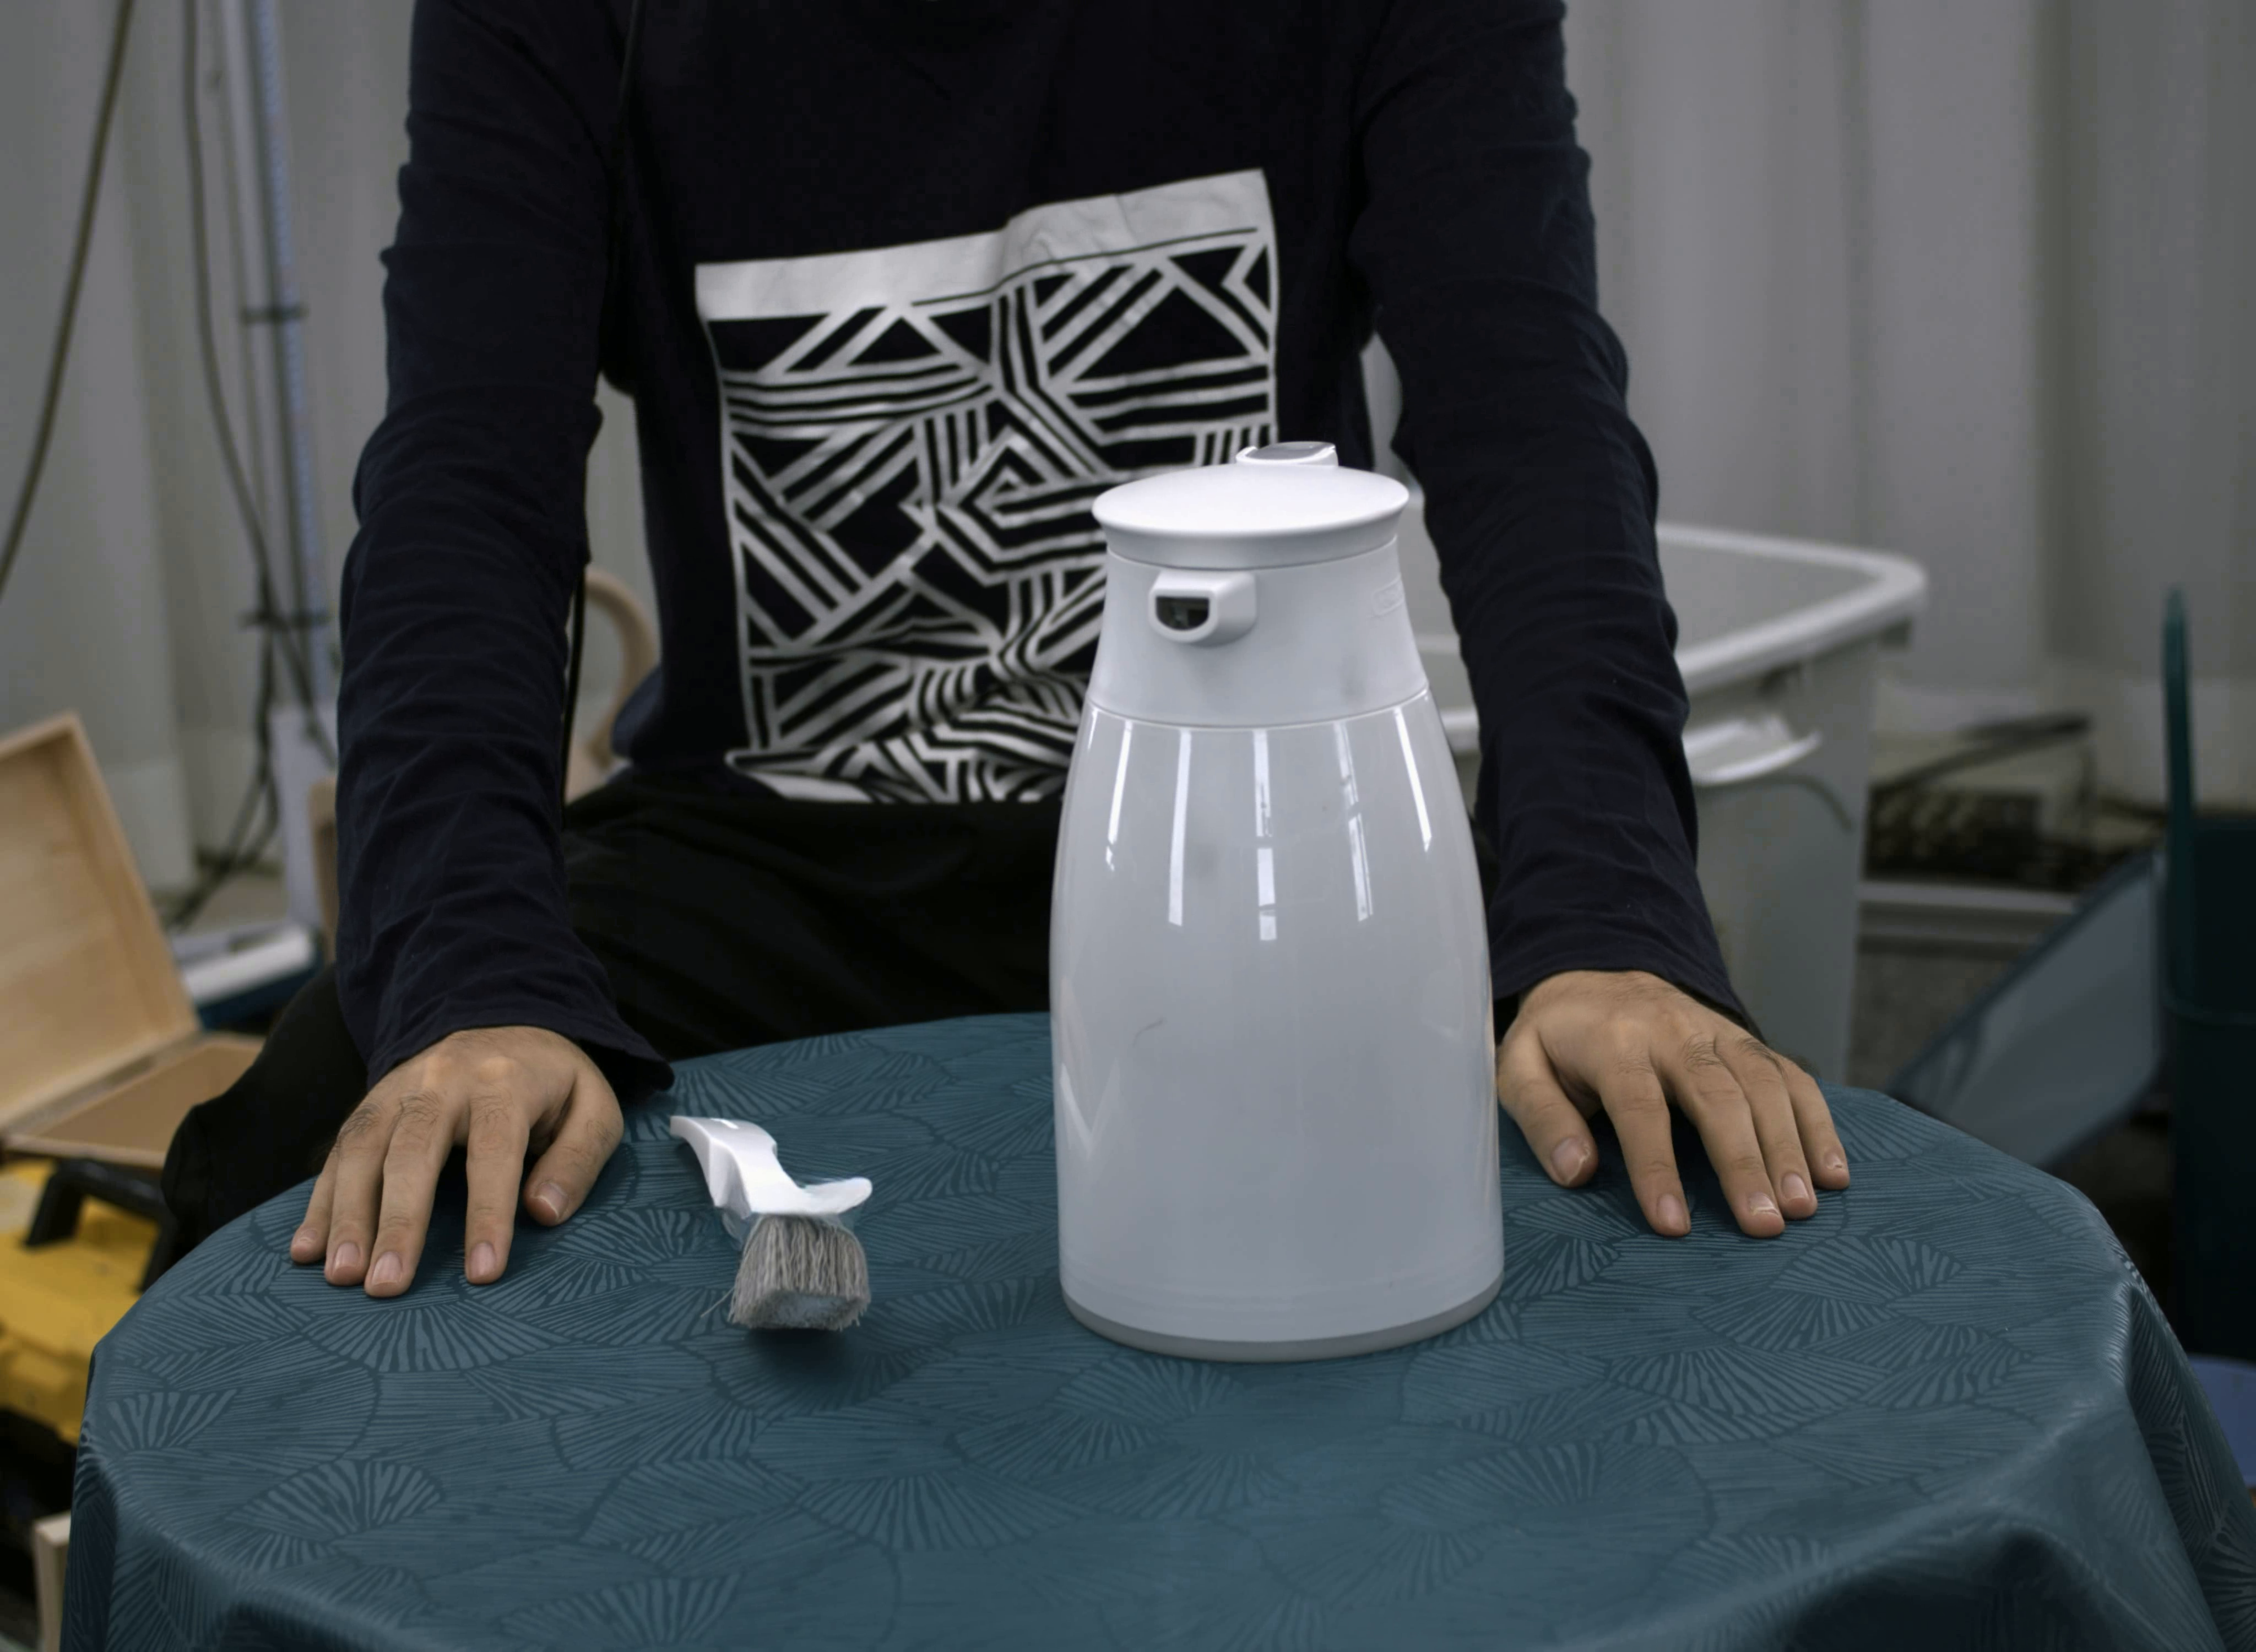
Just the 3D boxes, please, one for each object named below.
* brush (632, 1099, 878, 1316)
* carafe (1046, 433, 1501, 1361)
[{"bbox_3d":[-0.118,0.116,1.669,0.034,0.050,0.244,-1,3,-16],"label":"brush"},{"bbox_3d":[0.044,0.012,1.613,0.132,0.248,0.168,1,14,18],"label":"carafe"}]
